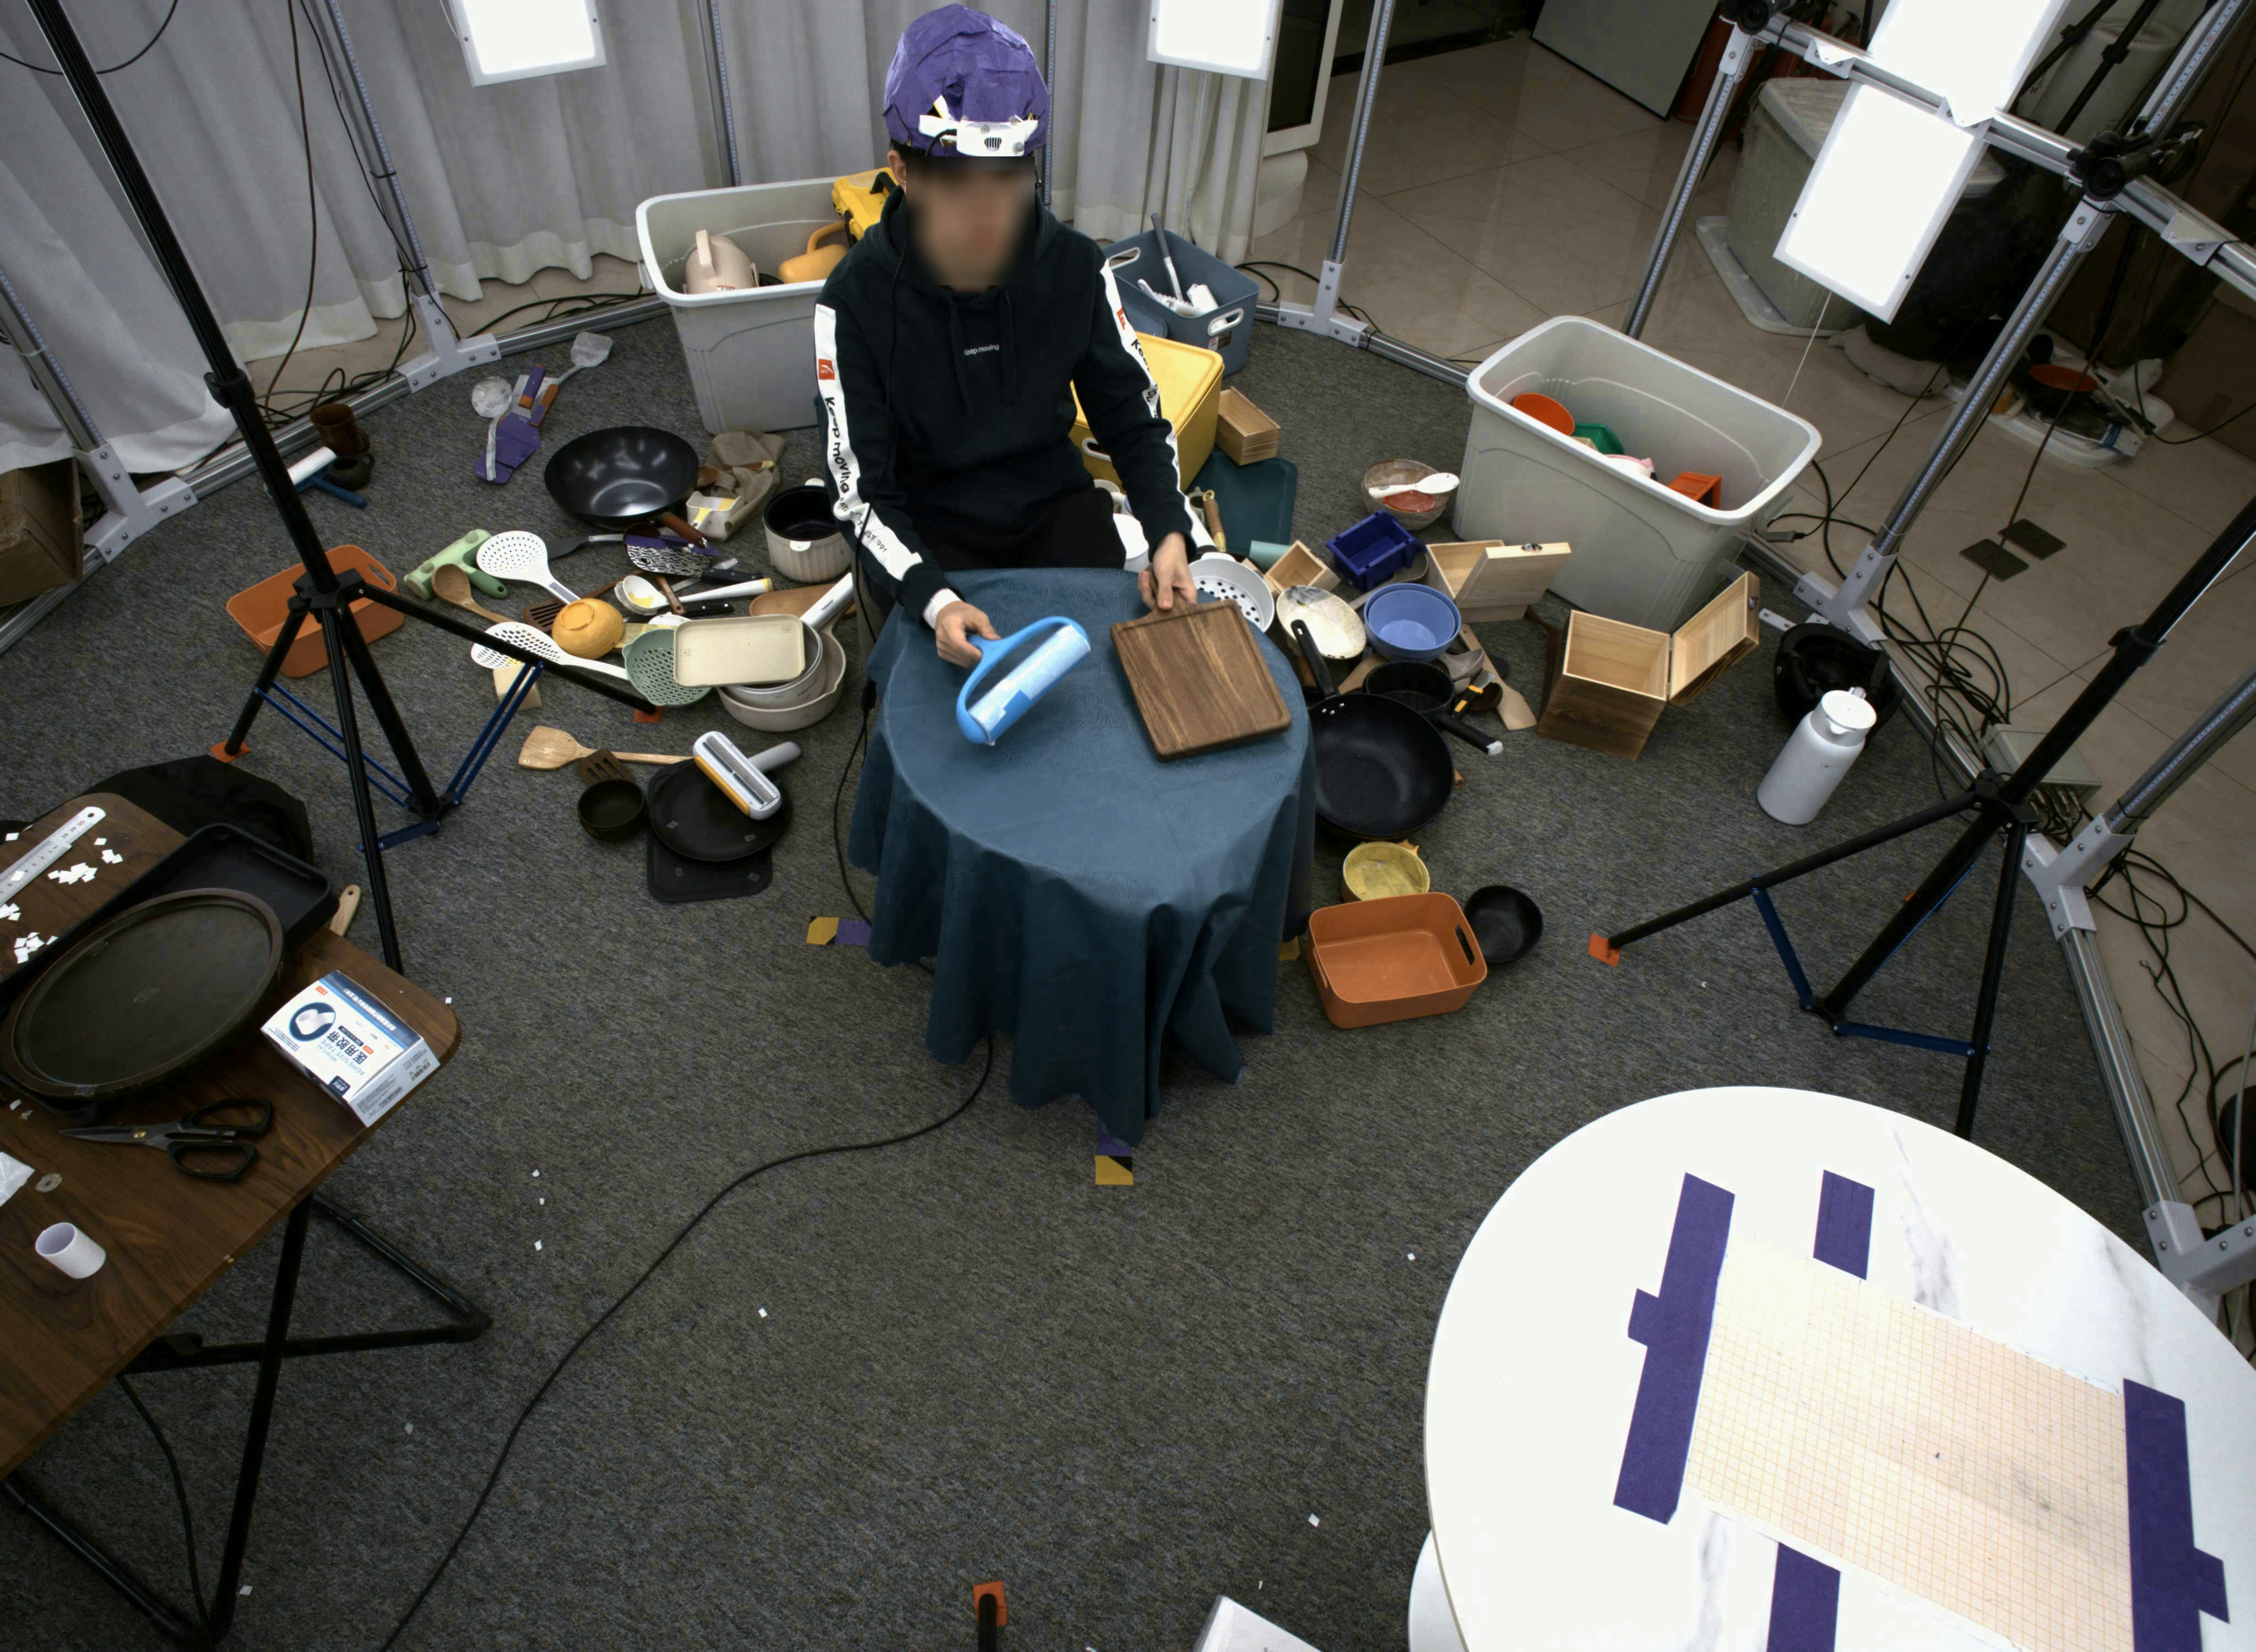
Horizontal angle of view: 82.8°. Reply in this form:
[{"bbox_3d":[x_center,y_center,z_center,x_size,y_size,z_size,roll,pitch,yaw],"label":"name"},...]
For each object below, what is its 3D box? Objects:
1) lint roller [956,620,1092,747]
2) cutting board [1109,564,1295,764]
[{"bbox_3d":[-0.178,-0.220,1.770,0.183,0.066,0.231,33,68,26],"label":"lint roller"},{"bbox_3d":[0.088,-0.250,1.850,0.201,0.022,0.360,-13,56,-10],"label":"cutting board"}]
